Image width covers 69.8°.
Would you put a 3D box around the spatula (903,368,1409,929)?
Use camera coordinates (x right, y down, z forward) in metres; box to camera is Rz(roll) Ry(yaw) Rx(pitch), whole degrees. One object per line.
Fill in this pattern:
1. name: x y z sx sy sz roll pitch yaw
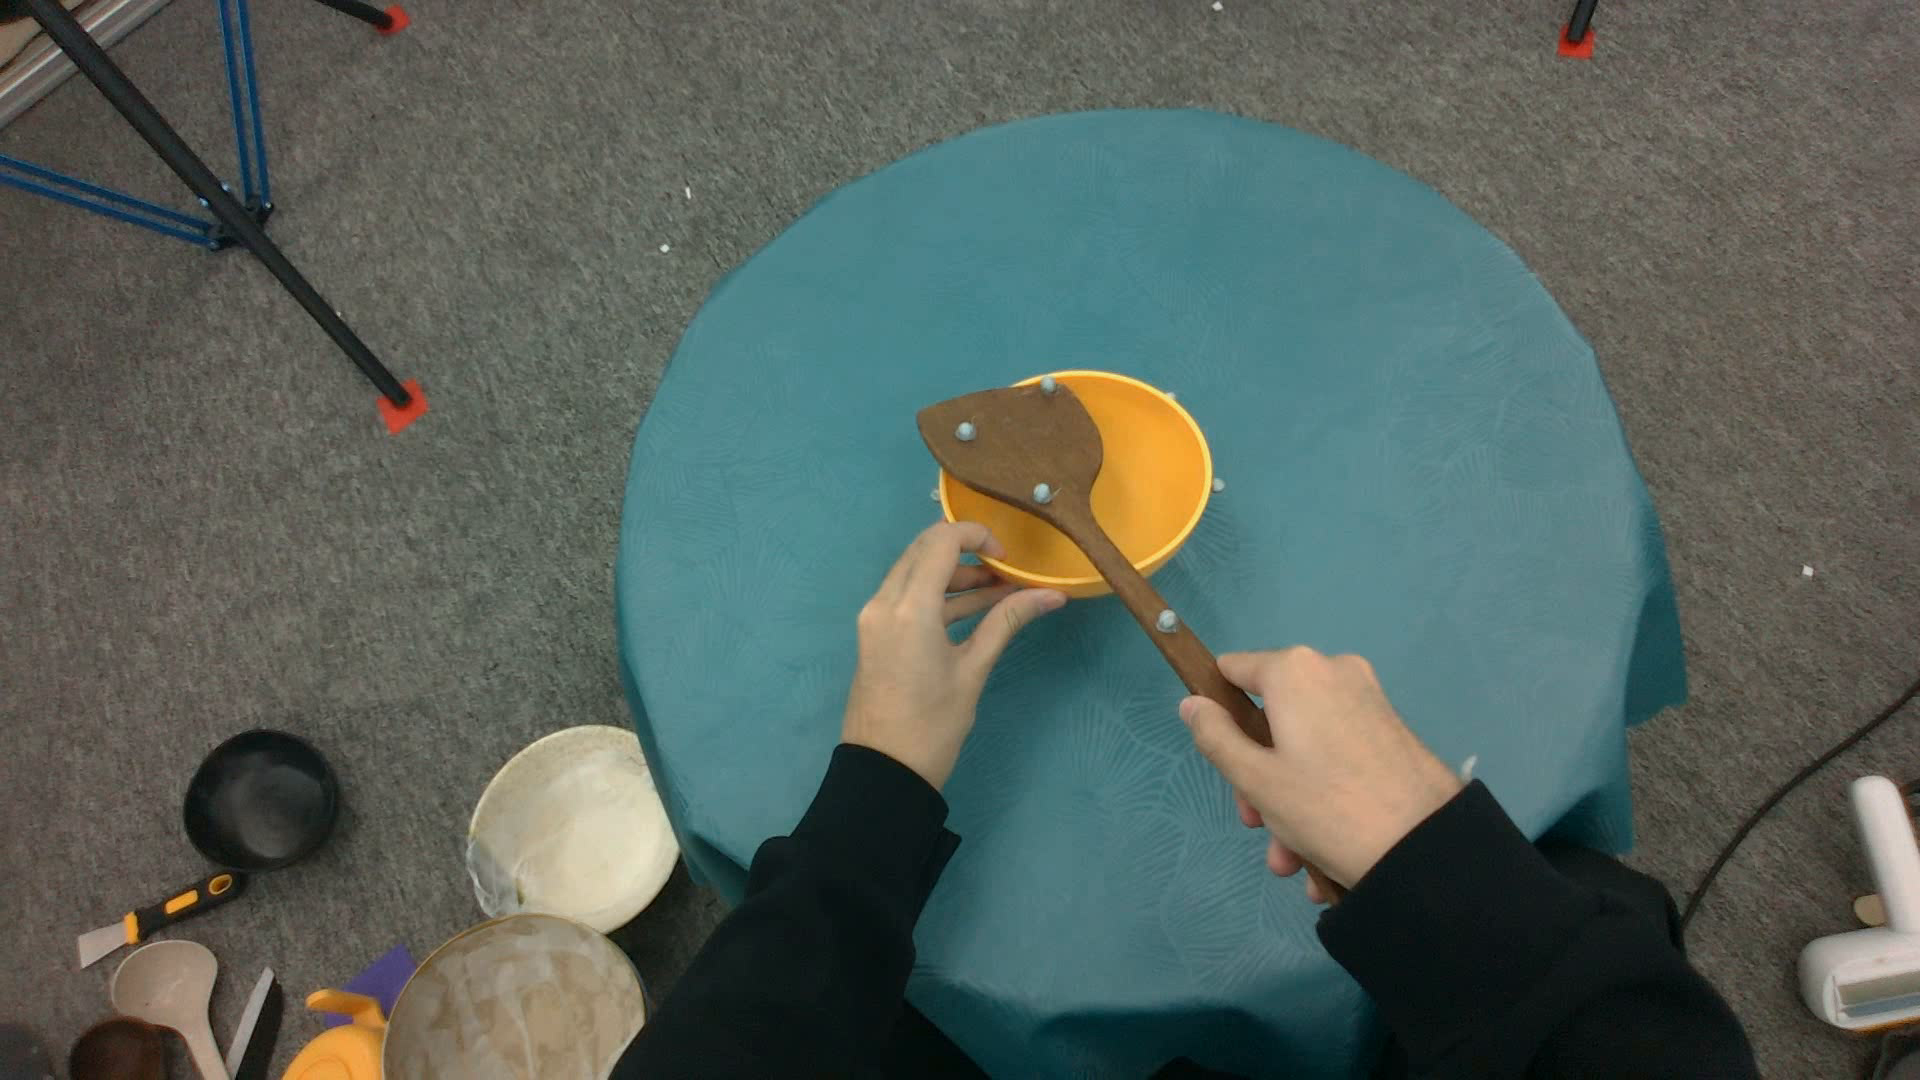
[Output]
1. spatula: 0.080 0.023 0.627 0.096 0.016 0.387 -13 40 -19

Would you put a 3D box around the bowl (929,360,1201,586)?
1. bowl: 0.059 -0.027 0.753 0.145 0.060 0.146 -5 55 7
